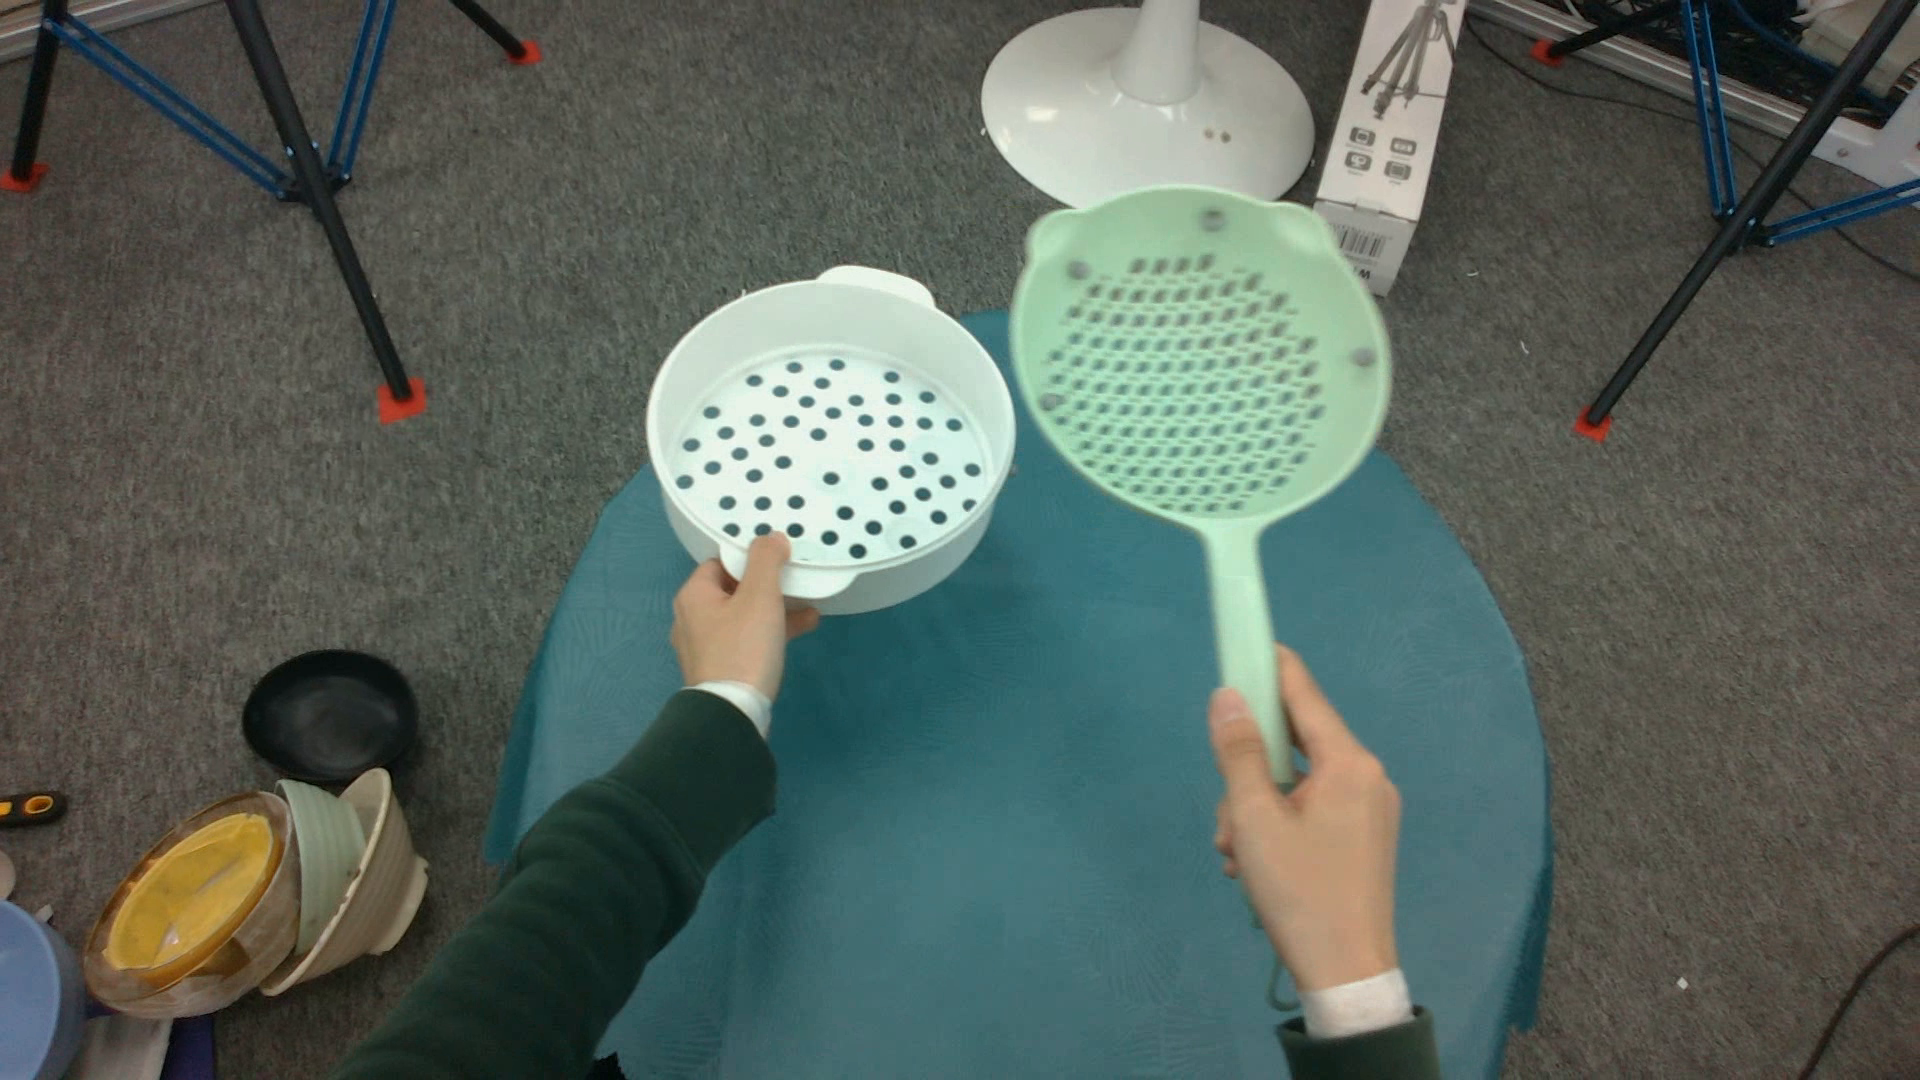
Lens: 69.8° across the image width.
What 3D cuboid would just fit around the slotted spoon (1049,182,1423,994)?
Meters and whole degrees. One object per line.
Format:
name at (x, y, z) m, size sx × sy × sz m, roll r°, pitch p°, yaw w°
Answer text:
slotted spoon at (0.127, 0.006, 0.601) m, size 0.169 × 0.075 × 0.360 m, roll -1°, pitch 62°, yaw 1°

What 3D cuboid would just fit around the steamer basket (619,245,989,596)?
steamer basket at (-0.087, -0.063, 0.780) m, size 0.202 × 0.069 × 0.231 m, roll 10°, pitch 57°, yaw 0°
